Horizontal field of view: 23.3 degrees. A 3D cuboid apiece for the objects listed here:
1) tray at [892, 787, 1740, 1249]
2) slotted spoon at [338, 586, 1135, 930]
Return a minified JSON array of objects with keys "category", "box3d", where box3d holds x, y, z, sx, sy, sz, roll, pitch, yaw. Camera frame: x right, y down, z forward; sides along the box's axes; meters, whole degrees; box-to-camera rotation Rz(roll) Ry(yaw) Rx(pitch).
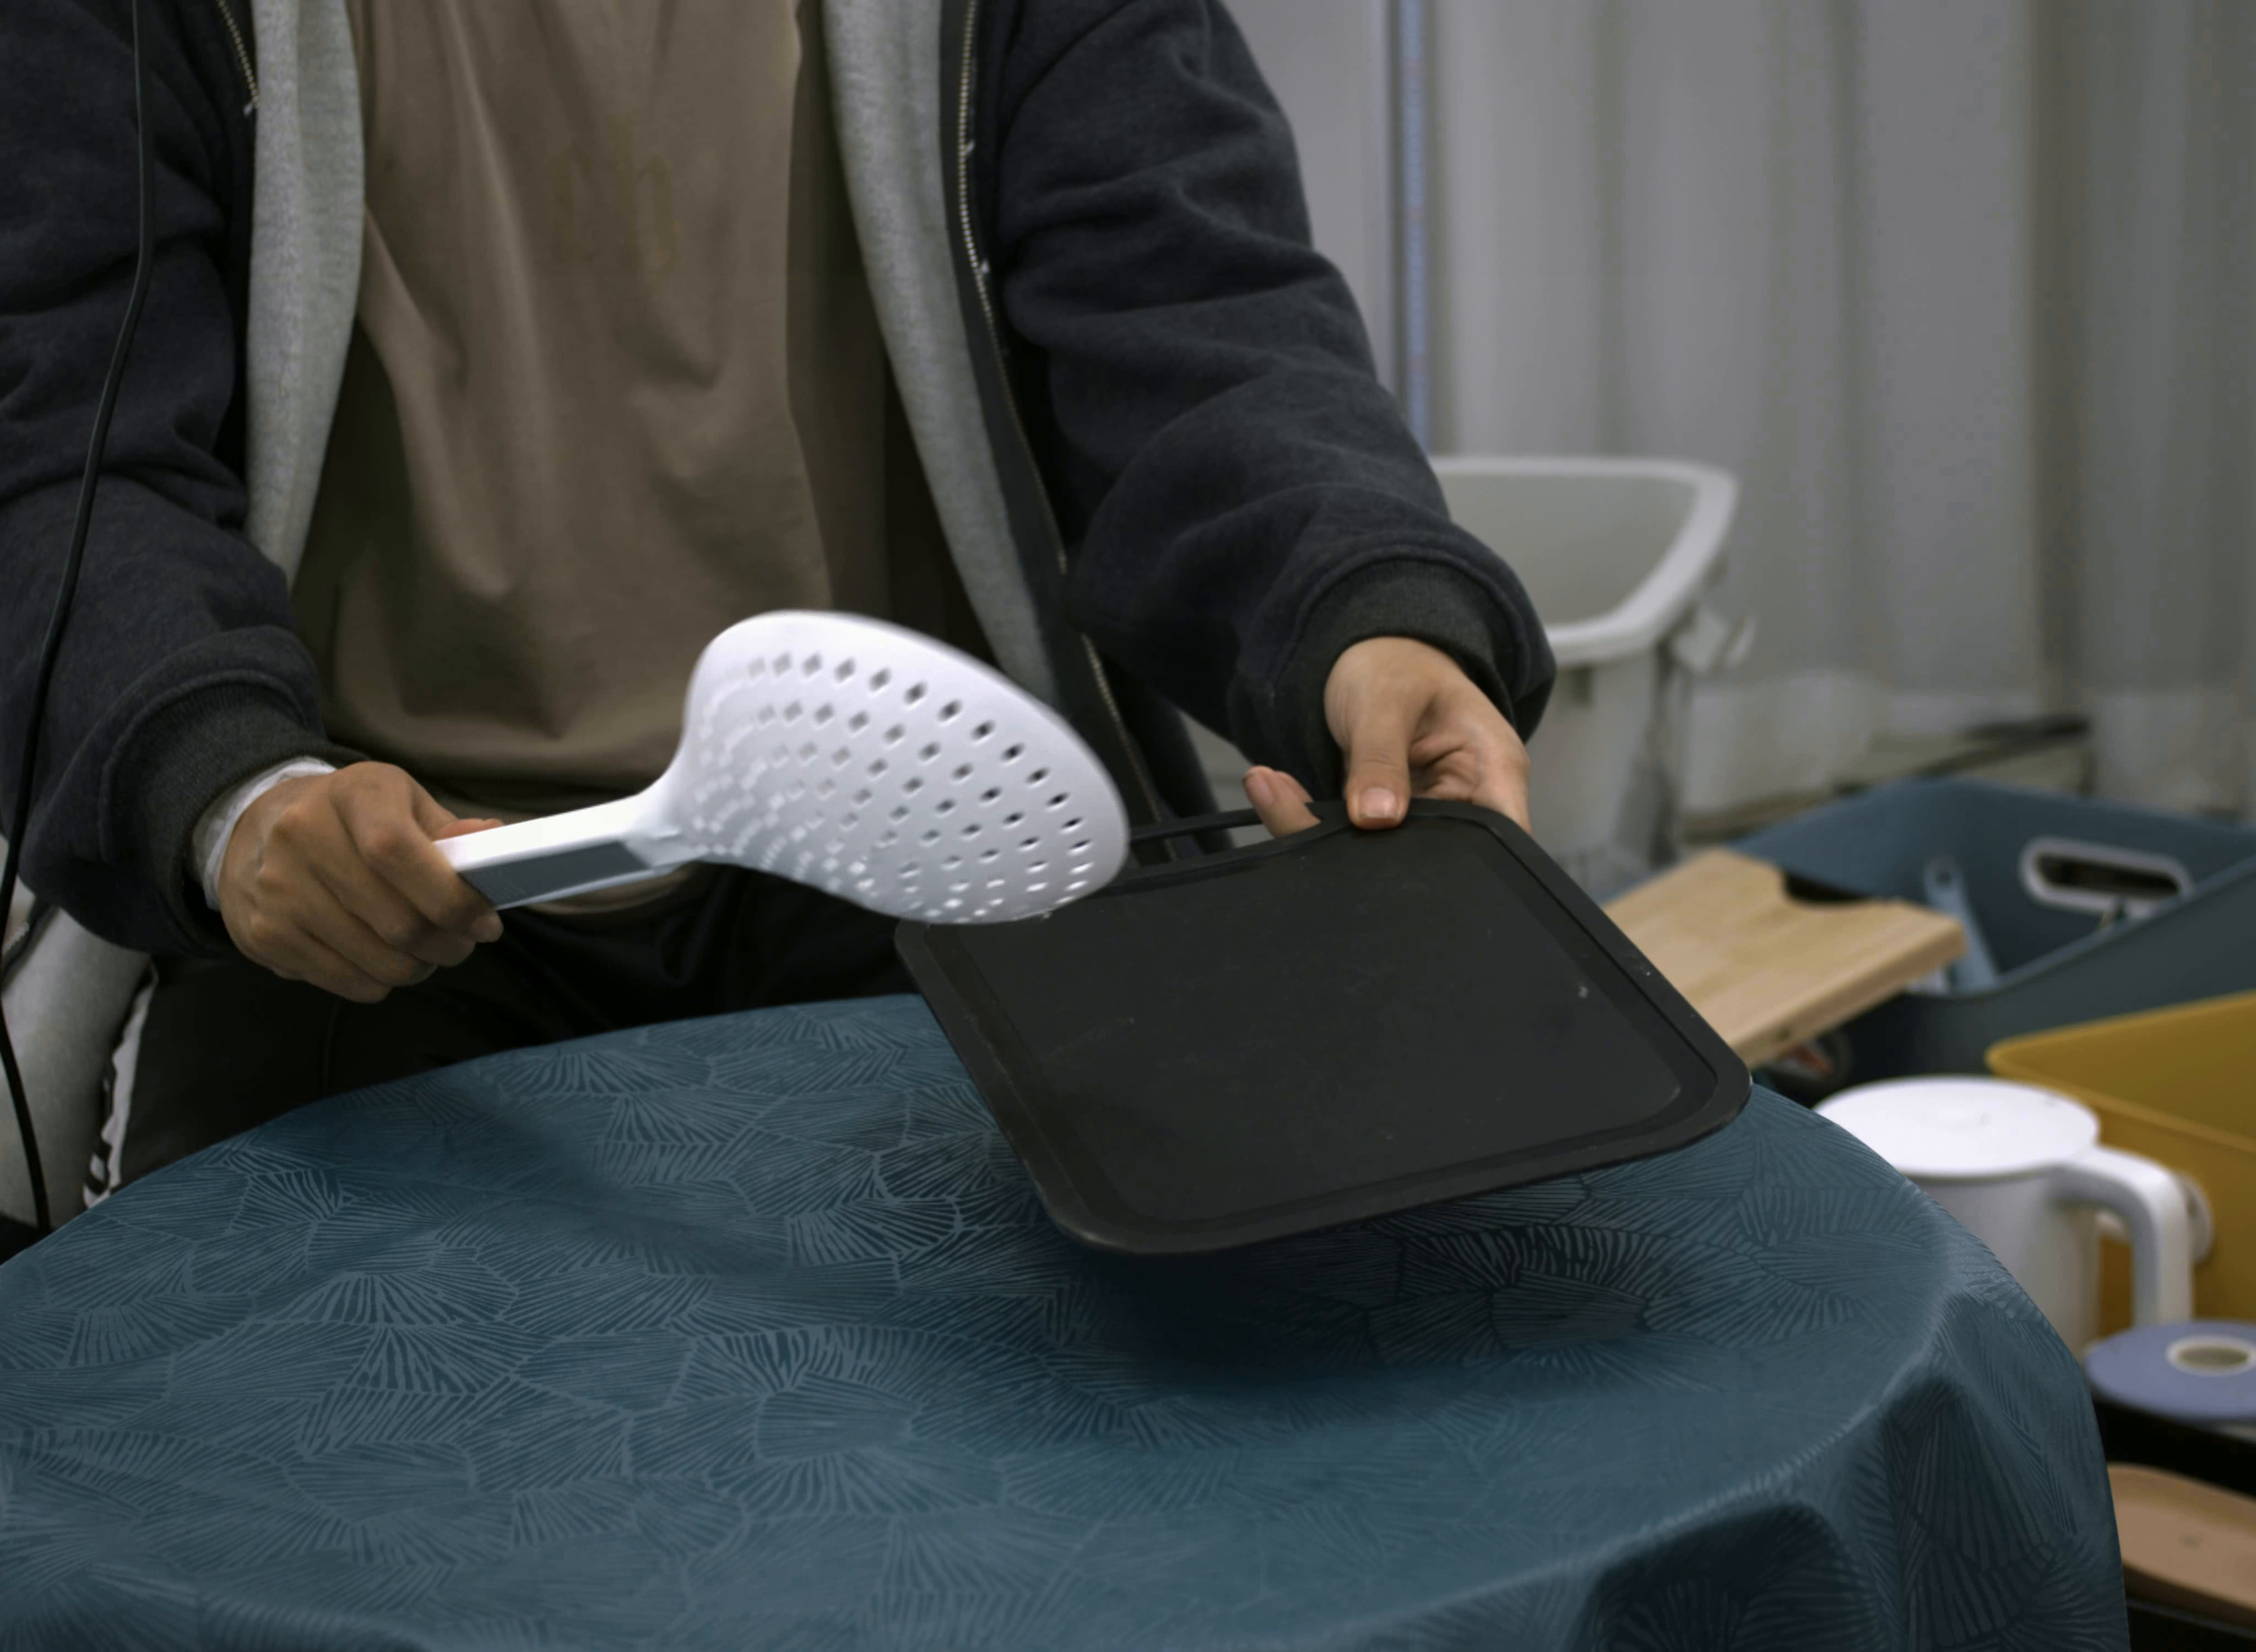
[{"category":"tray","box3d":[0.047,0.050,1.682,0.210,0.010,0.329,-12,22,-10]},{"category":"slotted spoon","box3d":[-0.135,-0.002,1.680,0.350,0.134,0.046,-7,43,50]}]
